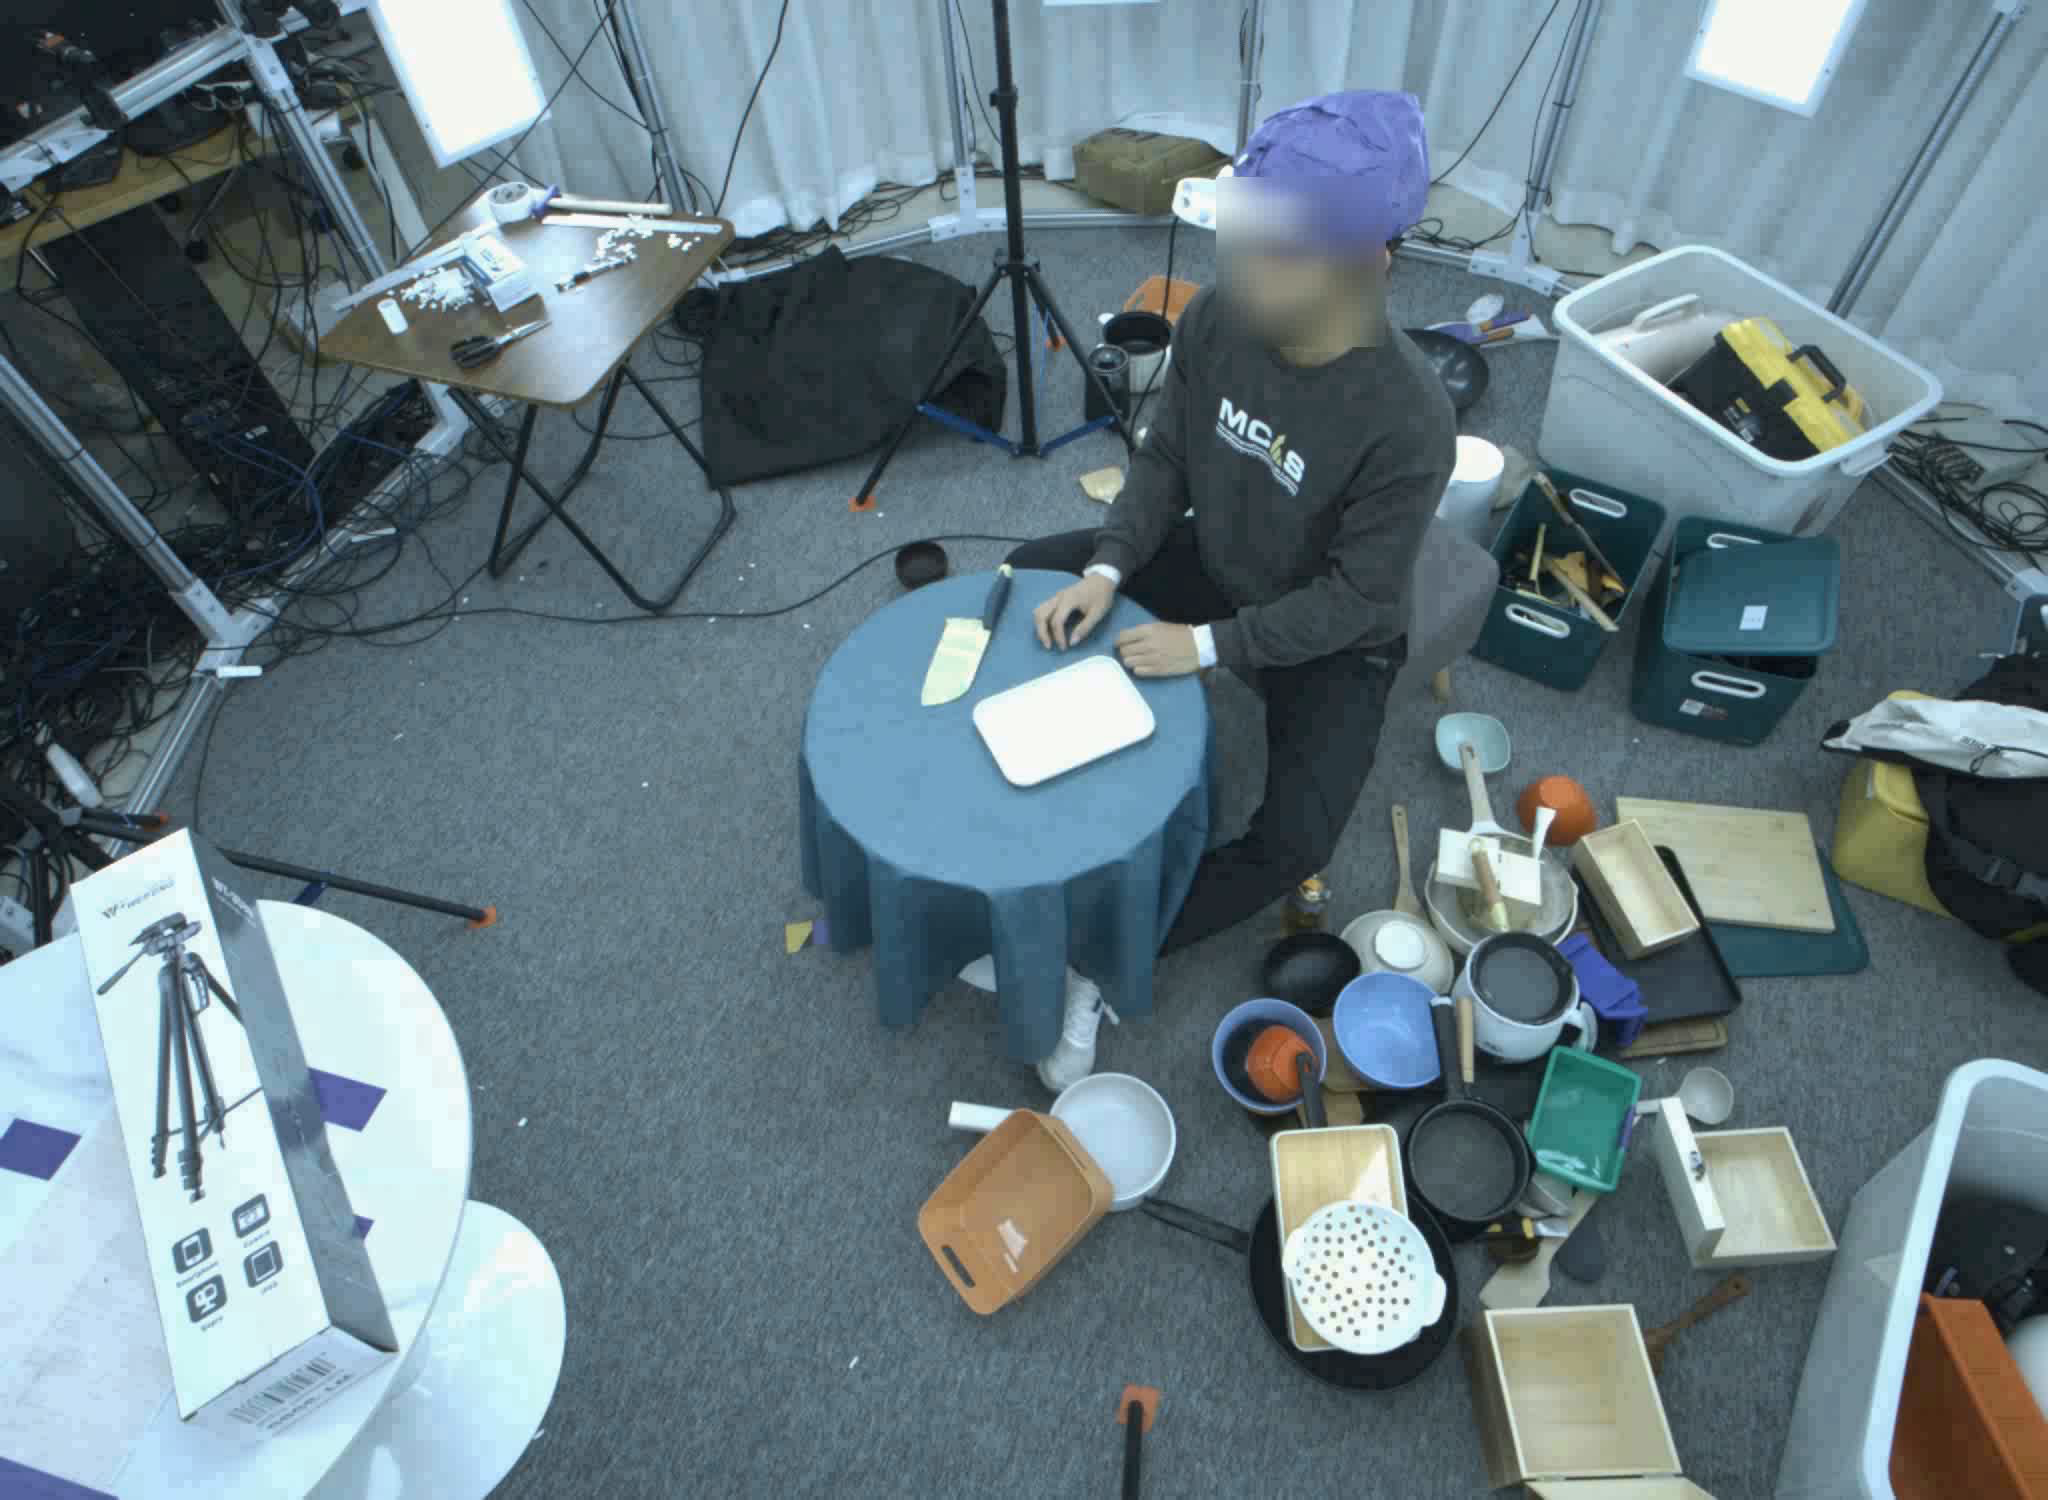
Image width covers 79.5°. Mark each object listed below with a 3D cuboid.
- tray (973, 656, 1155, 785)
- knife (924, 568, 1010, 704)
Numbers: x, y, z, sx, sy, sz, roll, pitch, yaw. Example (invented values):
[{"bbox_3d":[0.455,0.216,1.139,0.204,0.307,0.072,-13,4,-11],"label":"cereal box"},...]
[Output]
[{"bbox_3d":[0.058,-0.044,1.814,0.241,0.017,0.168,-22,56,-14],"label":"tray"},{"bbox_3d":[-0.087,-0.182,1.918,0.080,0.027,0.289,16,57,11],"label":"knife"}]
